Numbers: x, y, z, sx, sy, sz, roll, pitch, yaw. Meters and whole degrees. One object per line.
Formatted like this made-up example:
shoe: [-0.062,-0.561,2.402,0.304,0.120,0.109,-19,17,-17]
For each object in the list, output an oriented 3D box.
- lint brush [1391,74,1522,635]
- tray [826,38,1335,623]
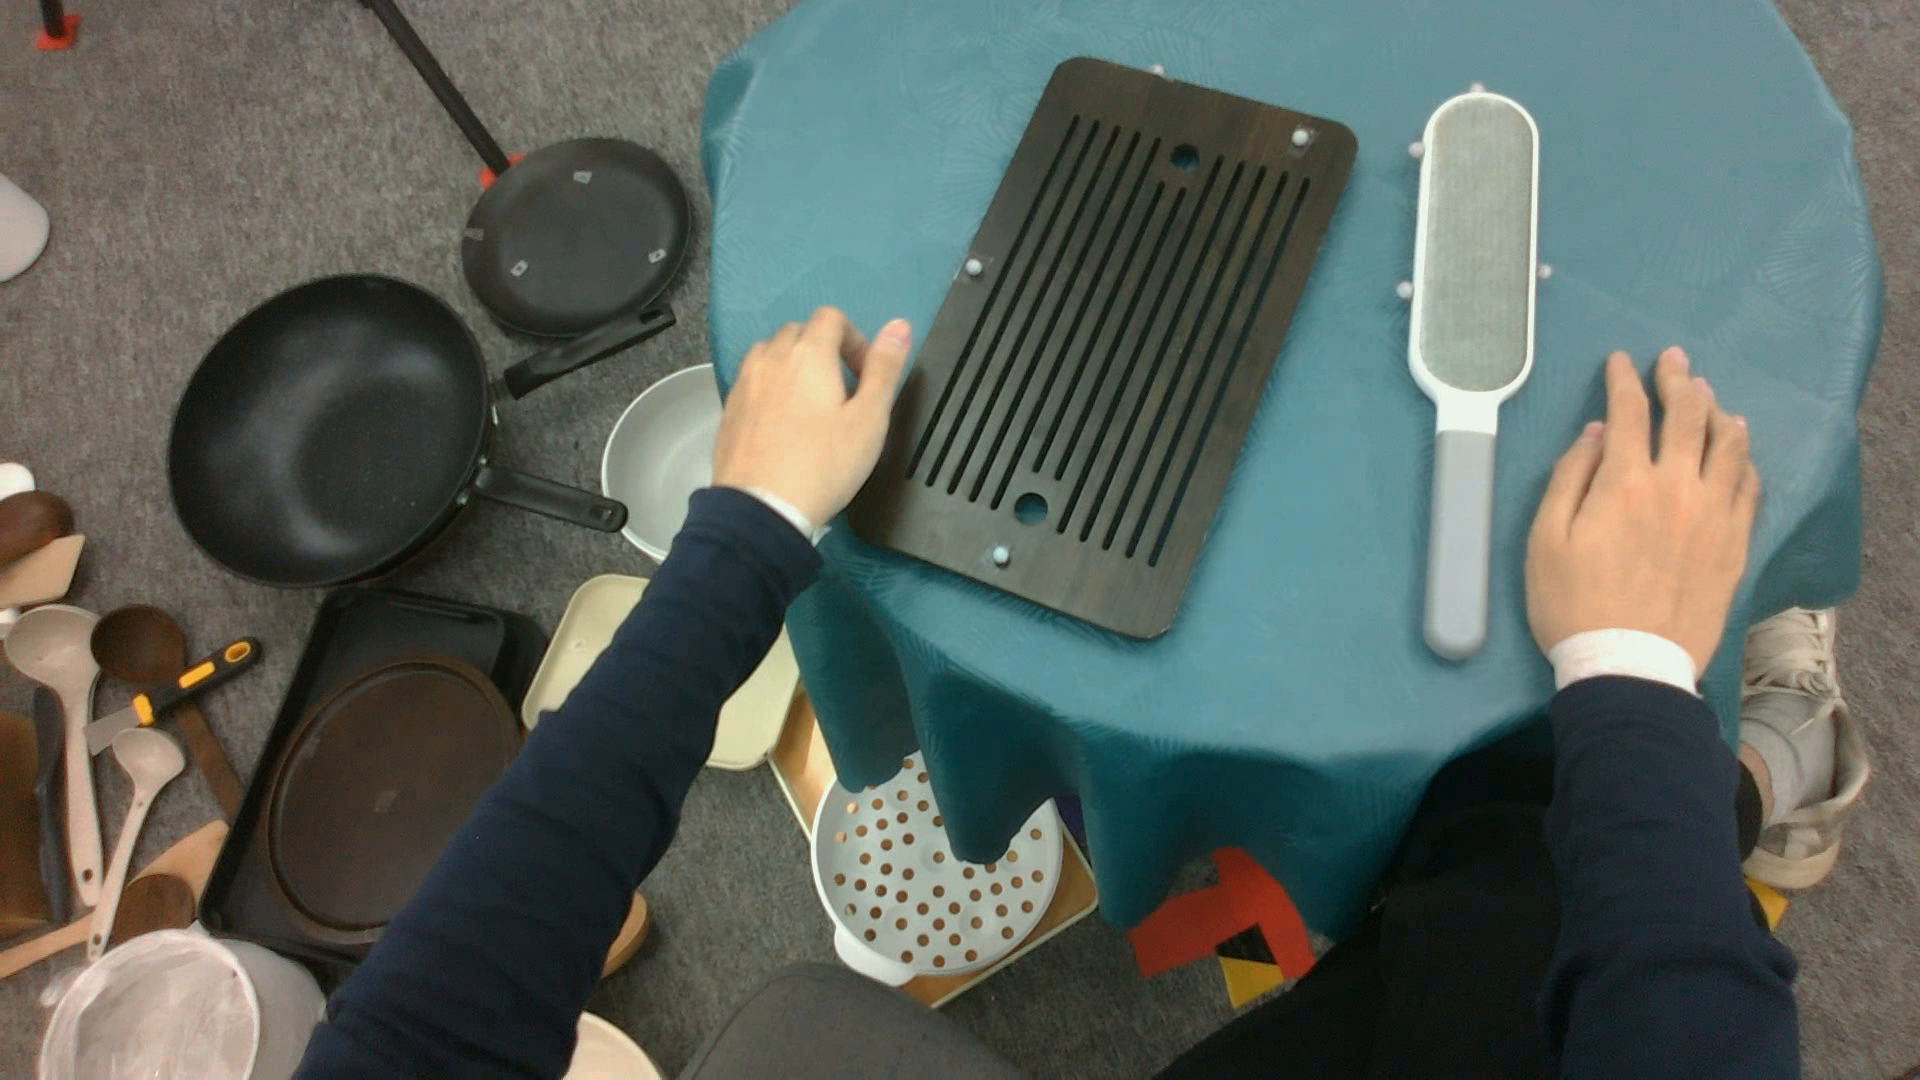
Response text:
lint brush: [0.240,-0.101,0.674,0.060,0.021,0.310,9,70,4]
tray: [0.066,-0.118,0.703,0.170,0.018,0.307,20,72,12]
